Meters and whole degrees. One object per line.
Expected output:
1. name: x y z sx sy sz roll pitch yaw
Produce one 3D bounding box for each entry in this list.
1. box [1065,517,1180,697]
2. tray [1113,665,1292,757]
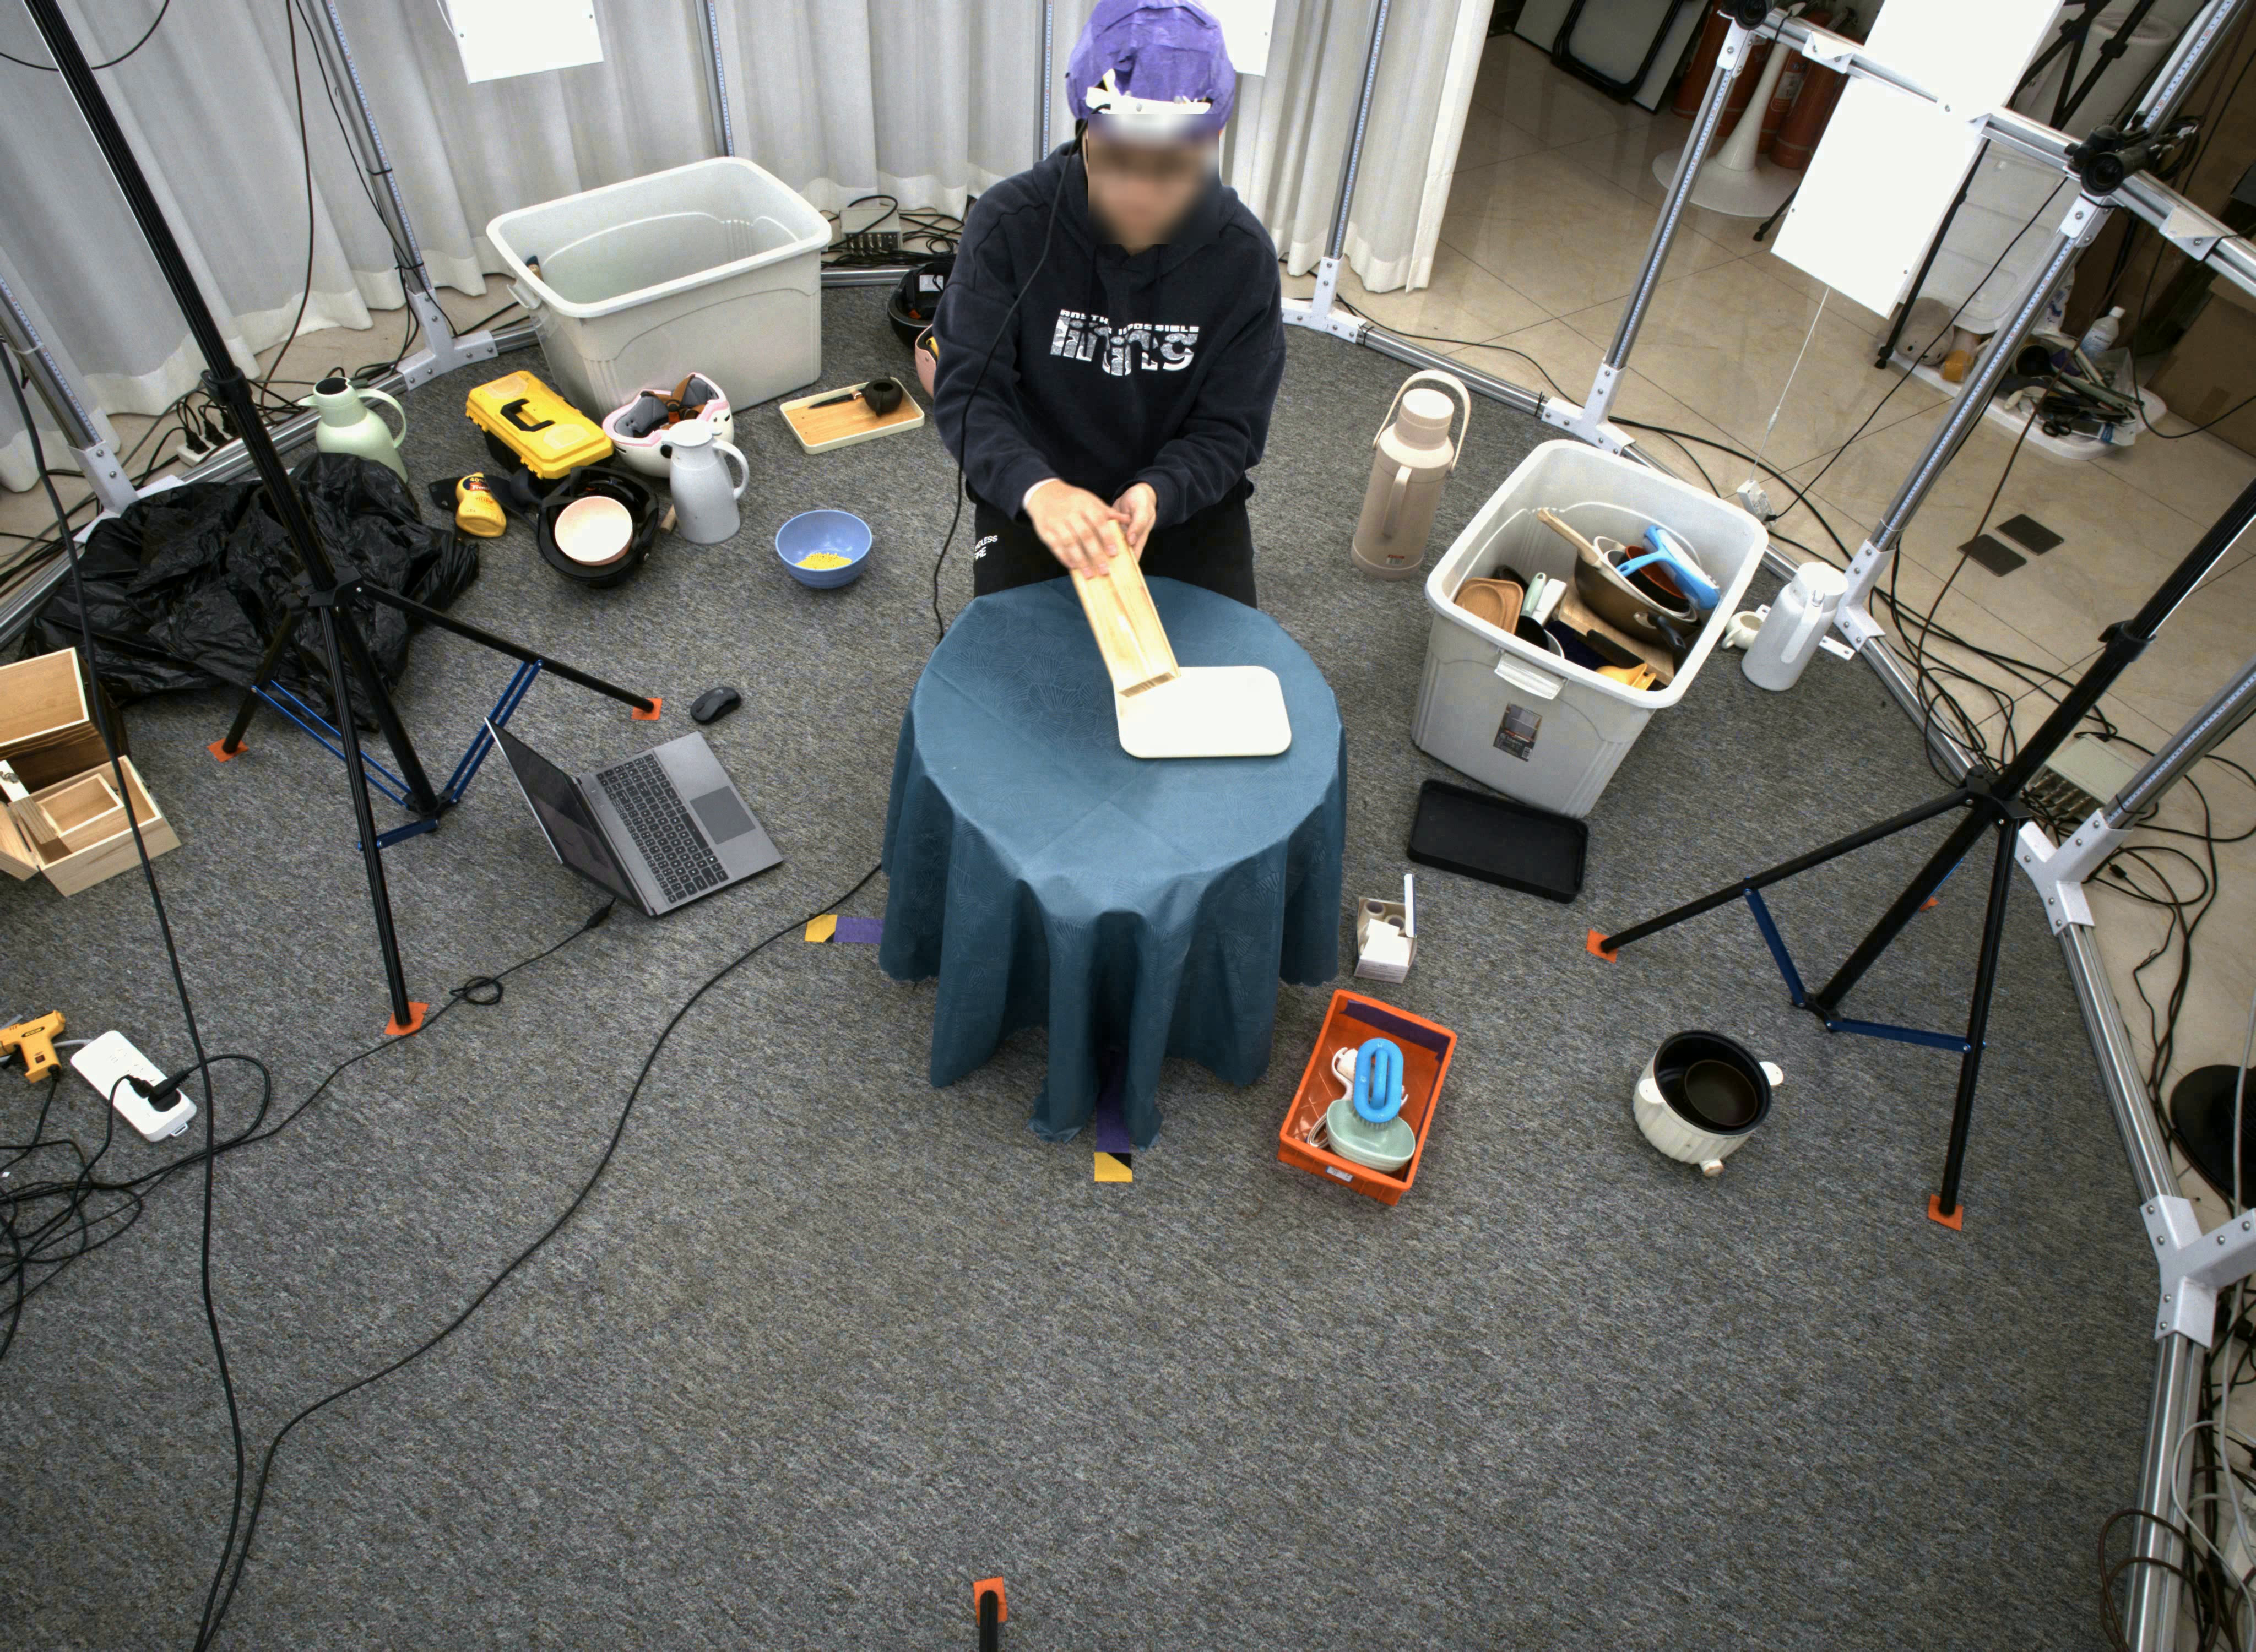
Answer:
1. box: -0.005 -0.287 1.707 0.080 0.107 0.212 -21 88 5
2. tray: 0.102 -0.161 1.801 0.239 0.017 0.175 -2 49 -6
